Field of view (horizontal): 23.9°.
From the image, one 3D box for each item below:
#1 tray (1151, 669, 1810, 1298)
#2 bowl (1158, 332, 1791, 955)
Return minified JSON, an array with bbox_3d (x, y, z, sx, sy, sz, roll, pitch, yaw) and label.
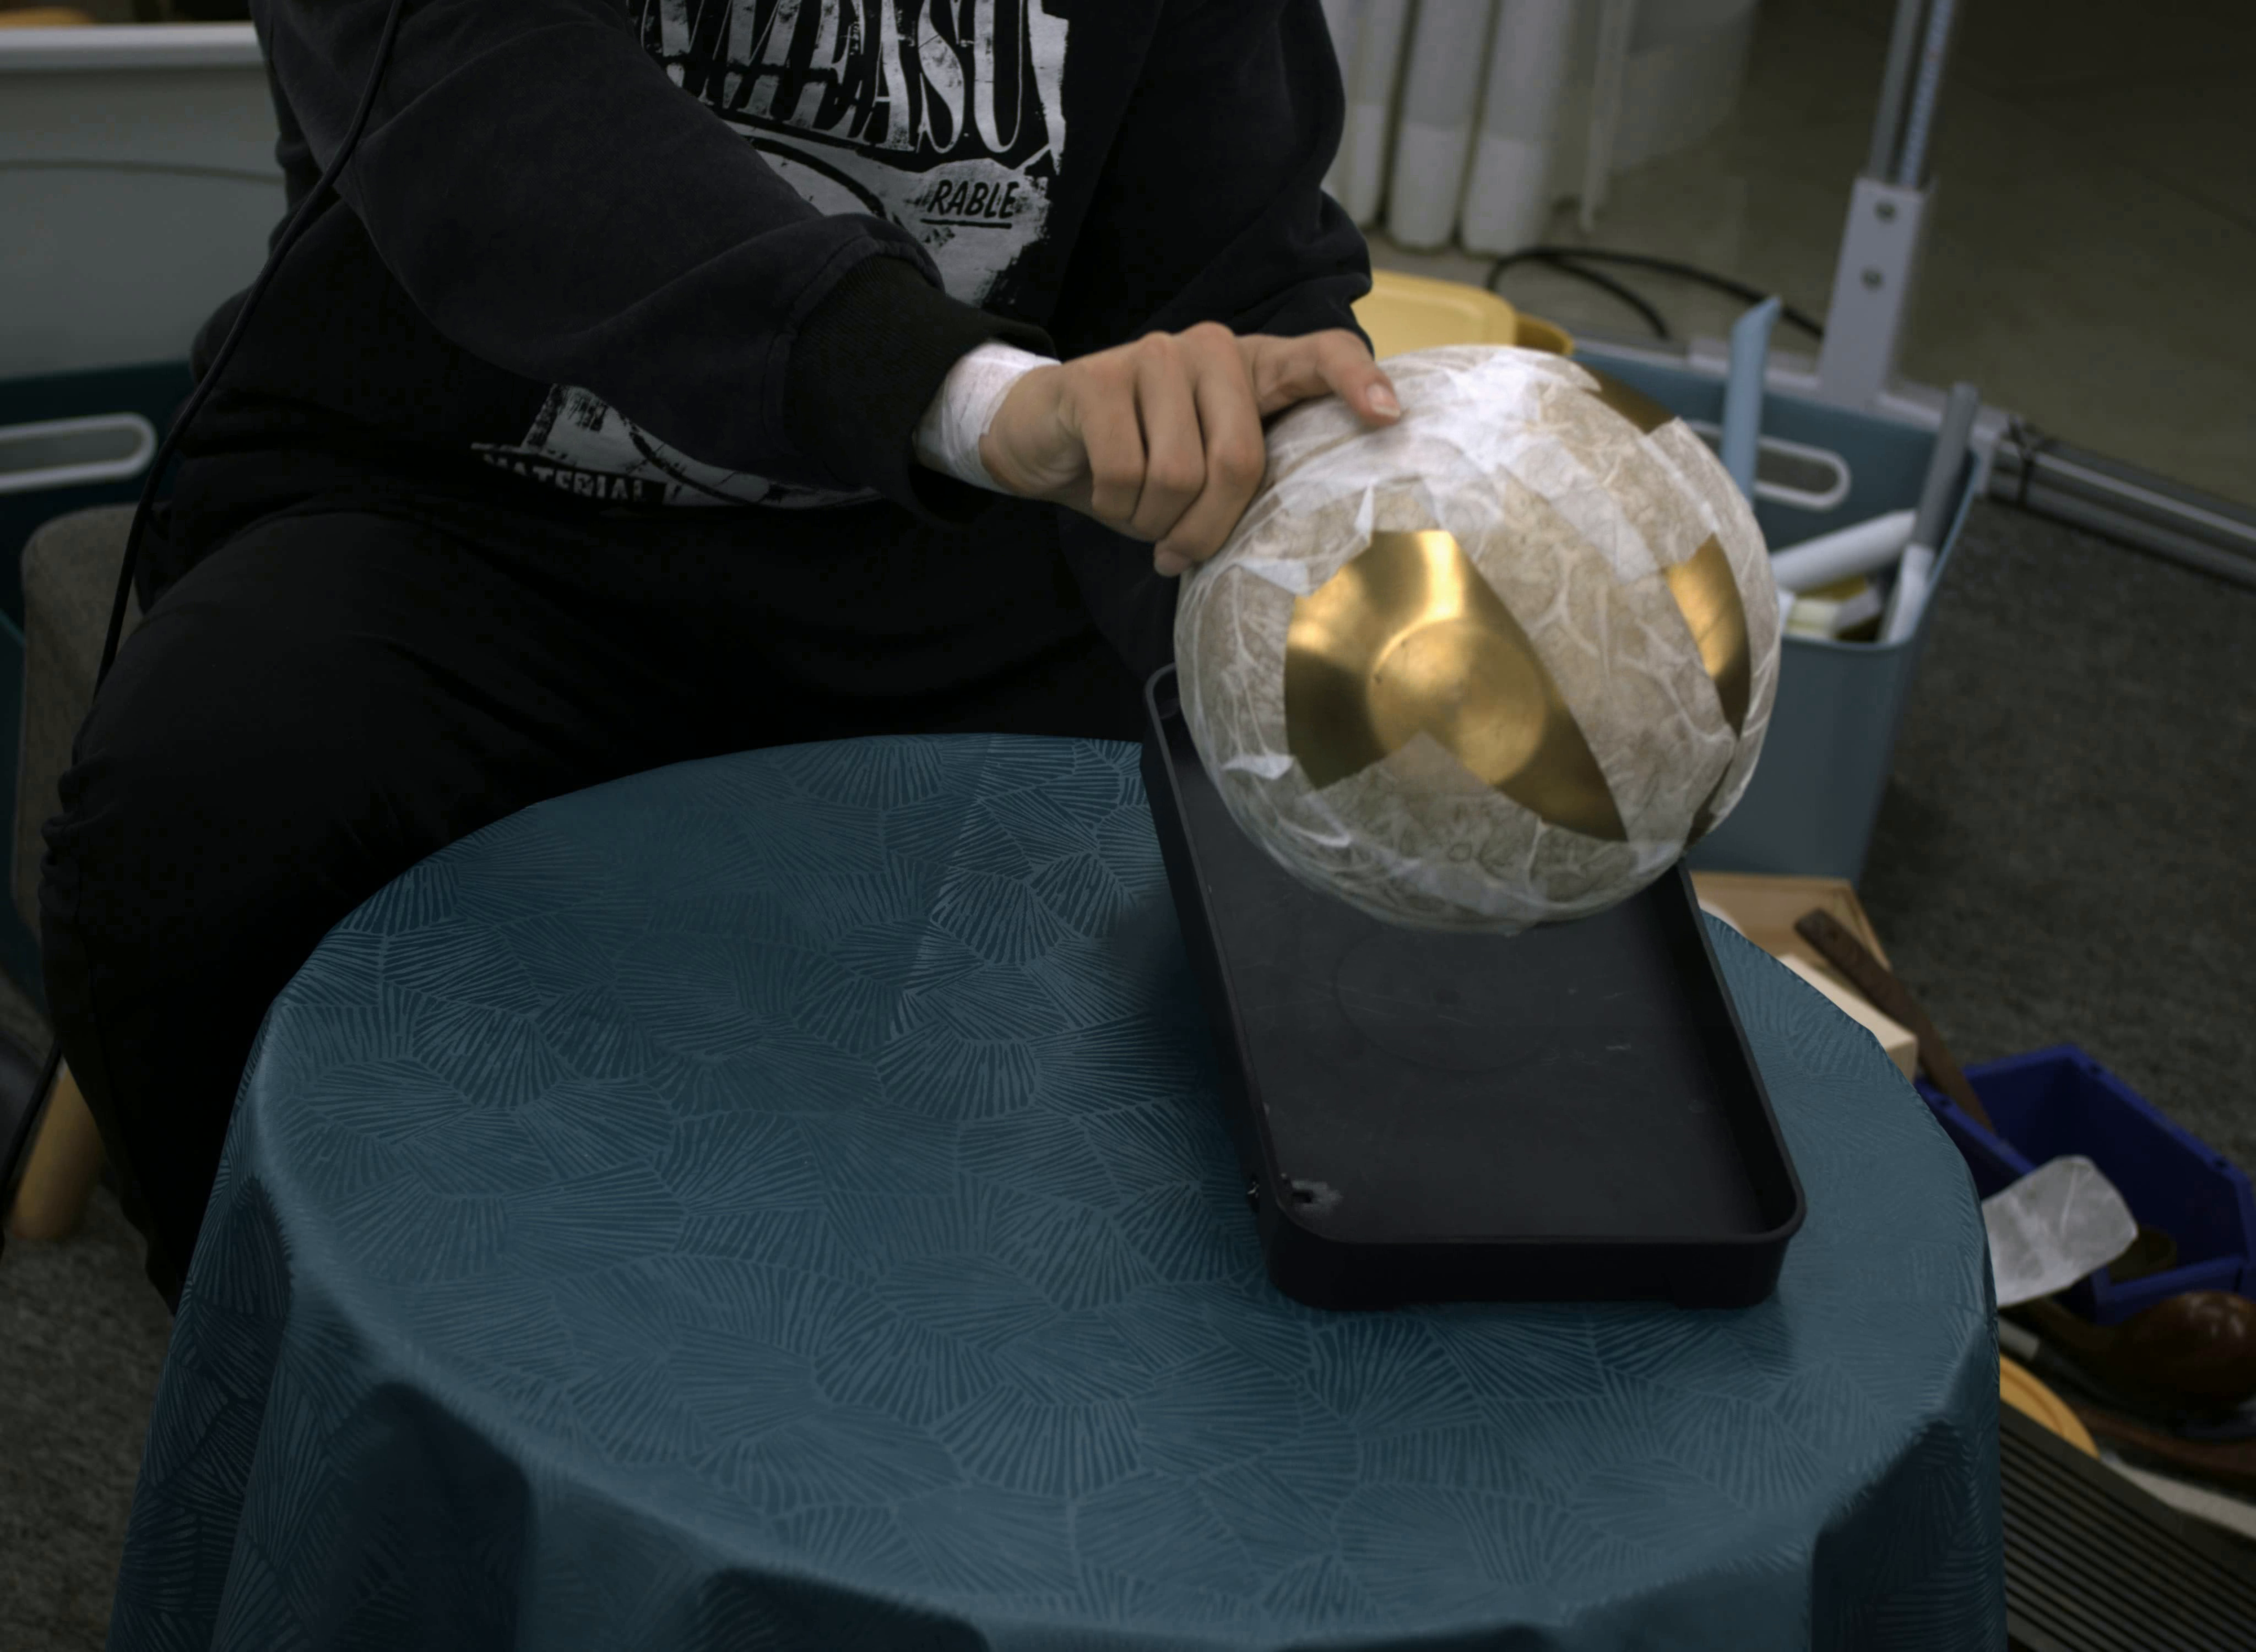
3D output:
[{"bbox_3d":[0.116,0.049,1.866,0.183,0.037,0.321,0,36,-9],"label":"tray"},{"bbox_3d":[0.107,-0.048,1.733,0.214,0.214,0.095,11,18,7],"label":"bowl"}]
